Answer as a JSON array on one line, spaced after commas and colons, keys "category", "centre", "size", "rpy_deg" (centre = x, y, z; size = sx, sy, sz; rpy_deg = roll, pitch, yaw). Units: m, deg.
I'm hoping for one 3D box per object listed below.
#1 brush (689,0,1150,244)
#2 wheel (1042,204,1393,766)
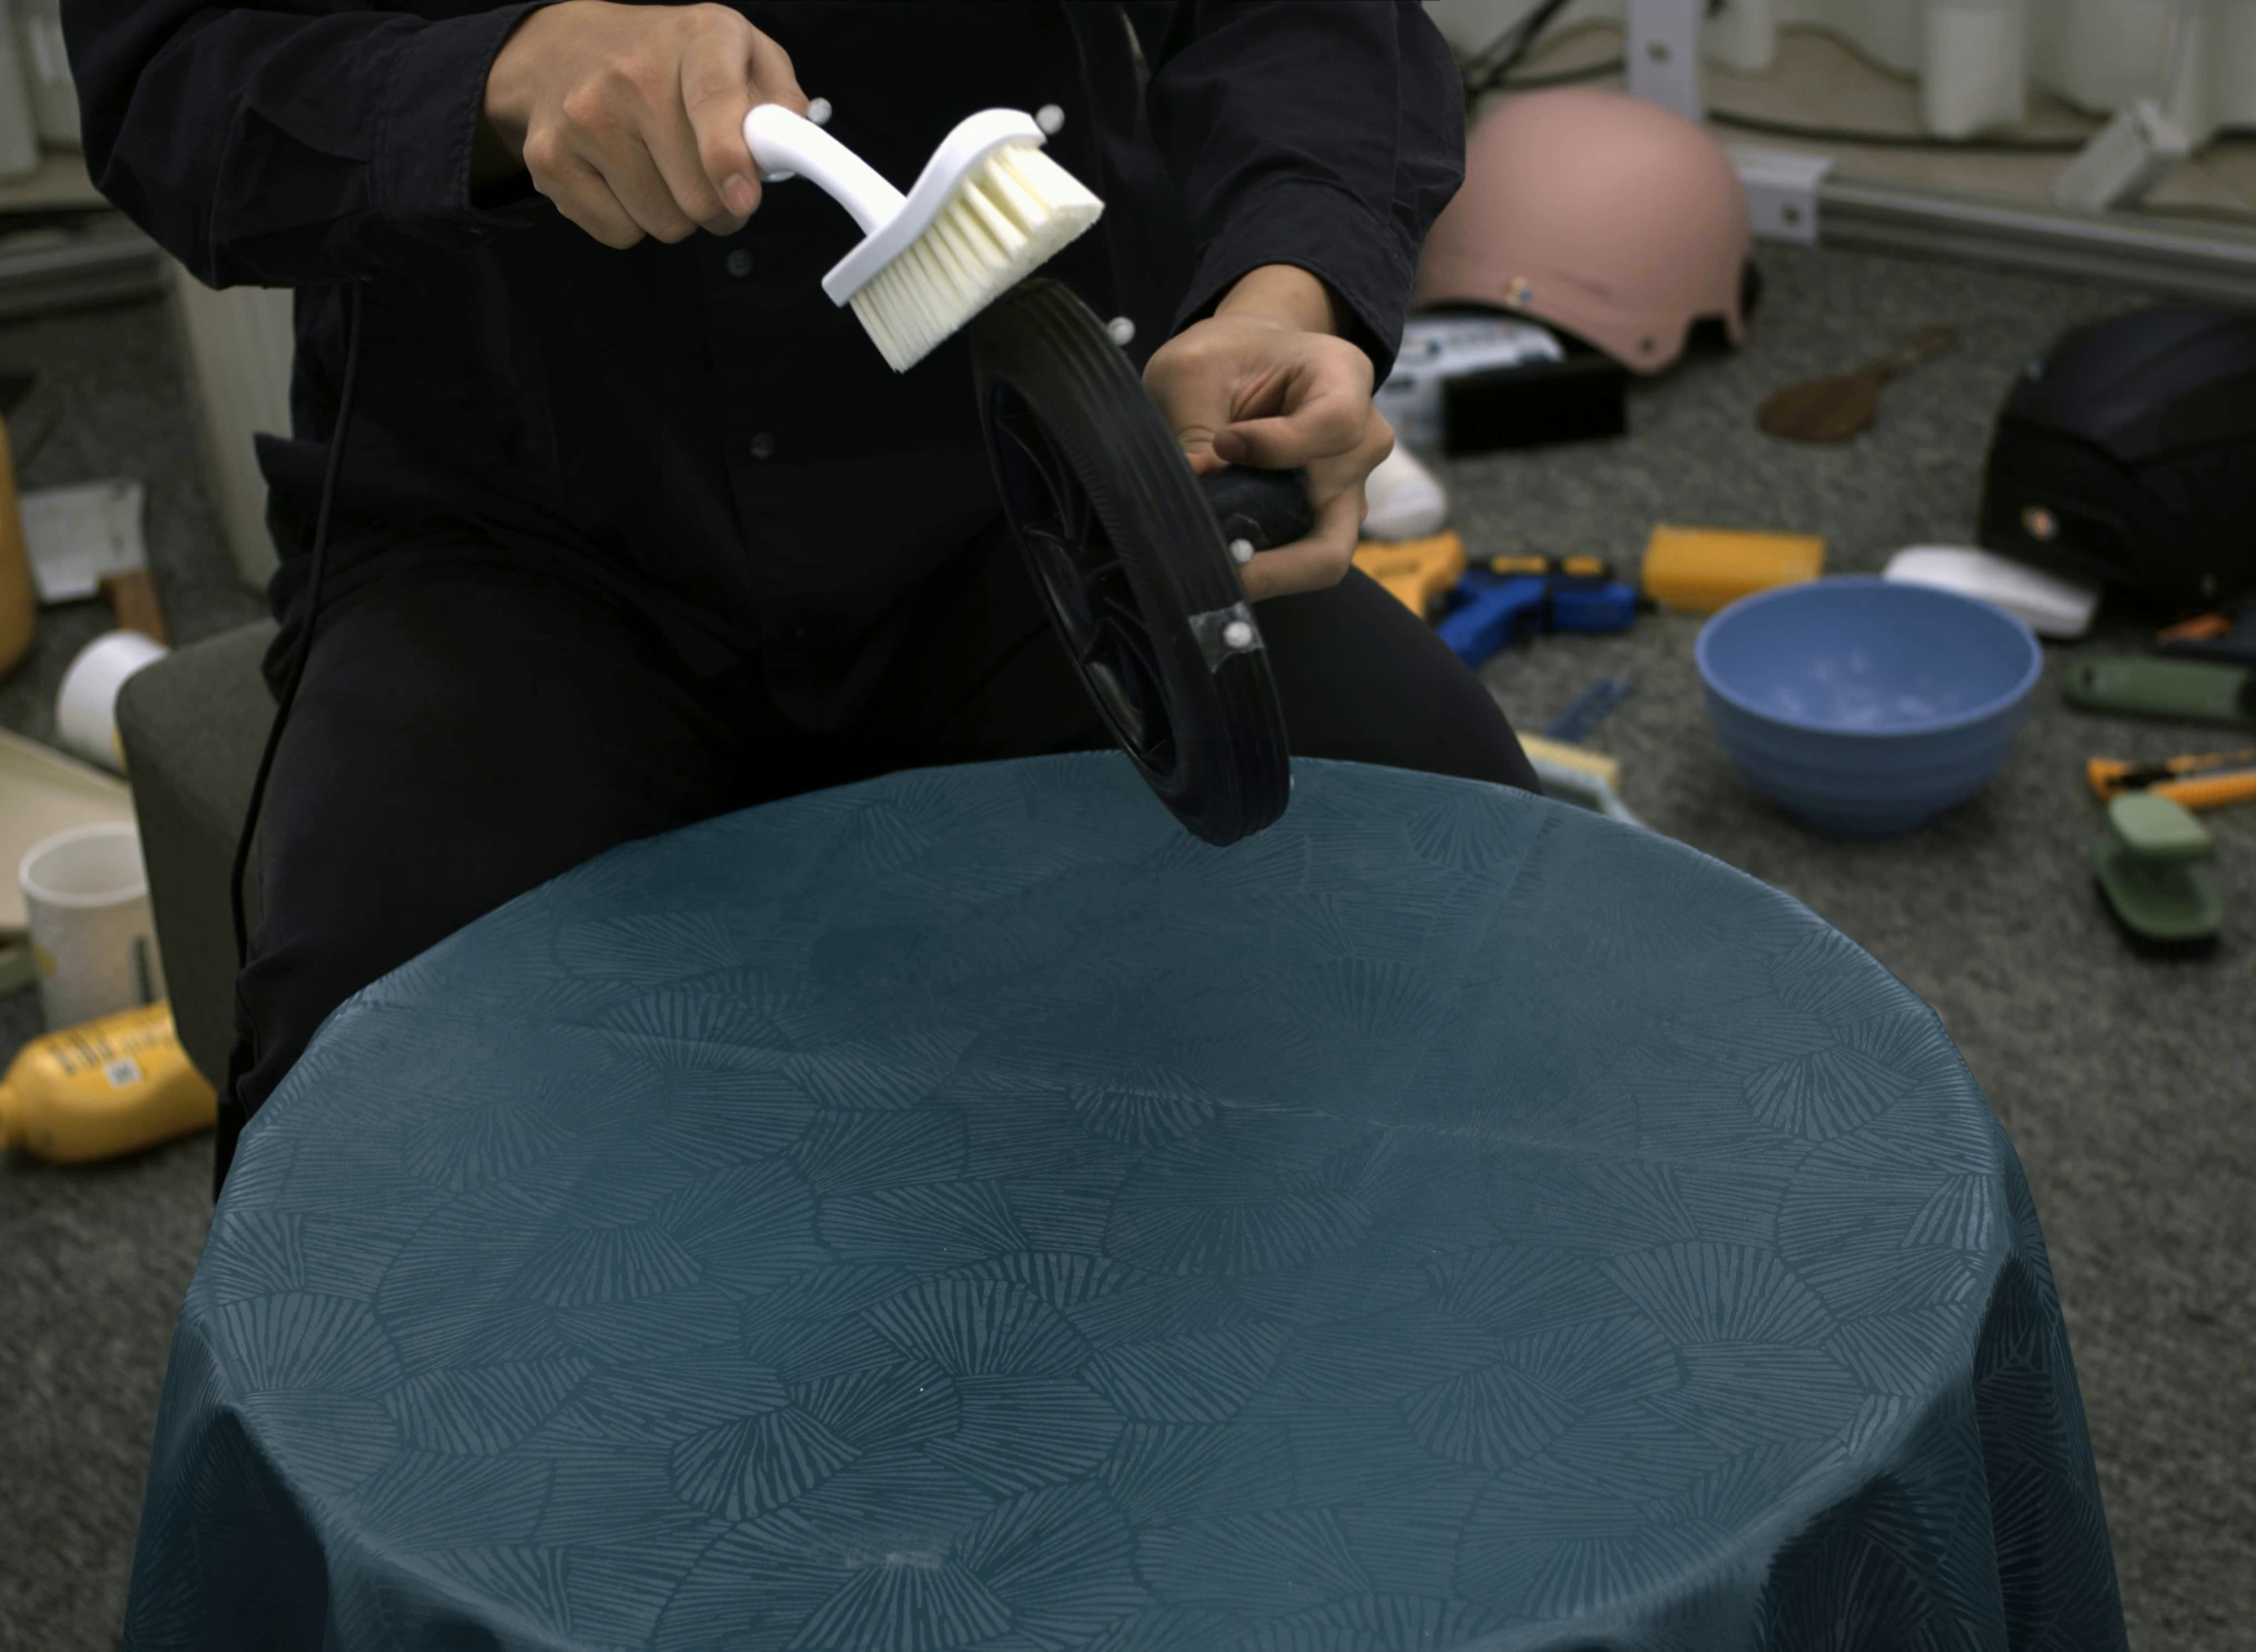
[{"category": "brush", "centre": [-0.064, -0.231, 1.834], "size": [0.083, 0.085, 0.324], "rpy_deg": [0, 5, -21]}, {"category": "wheel", "centre": [0.043, -0.117, 1.793], "size": [0.079, 0.185, 0.192], "rpy_deg": [-26, 52, -11]}]
